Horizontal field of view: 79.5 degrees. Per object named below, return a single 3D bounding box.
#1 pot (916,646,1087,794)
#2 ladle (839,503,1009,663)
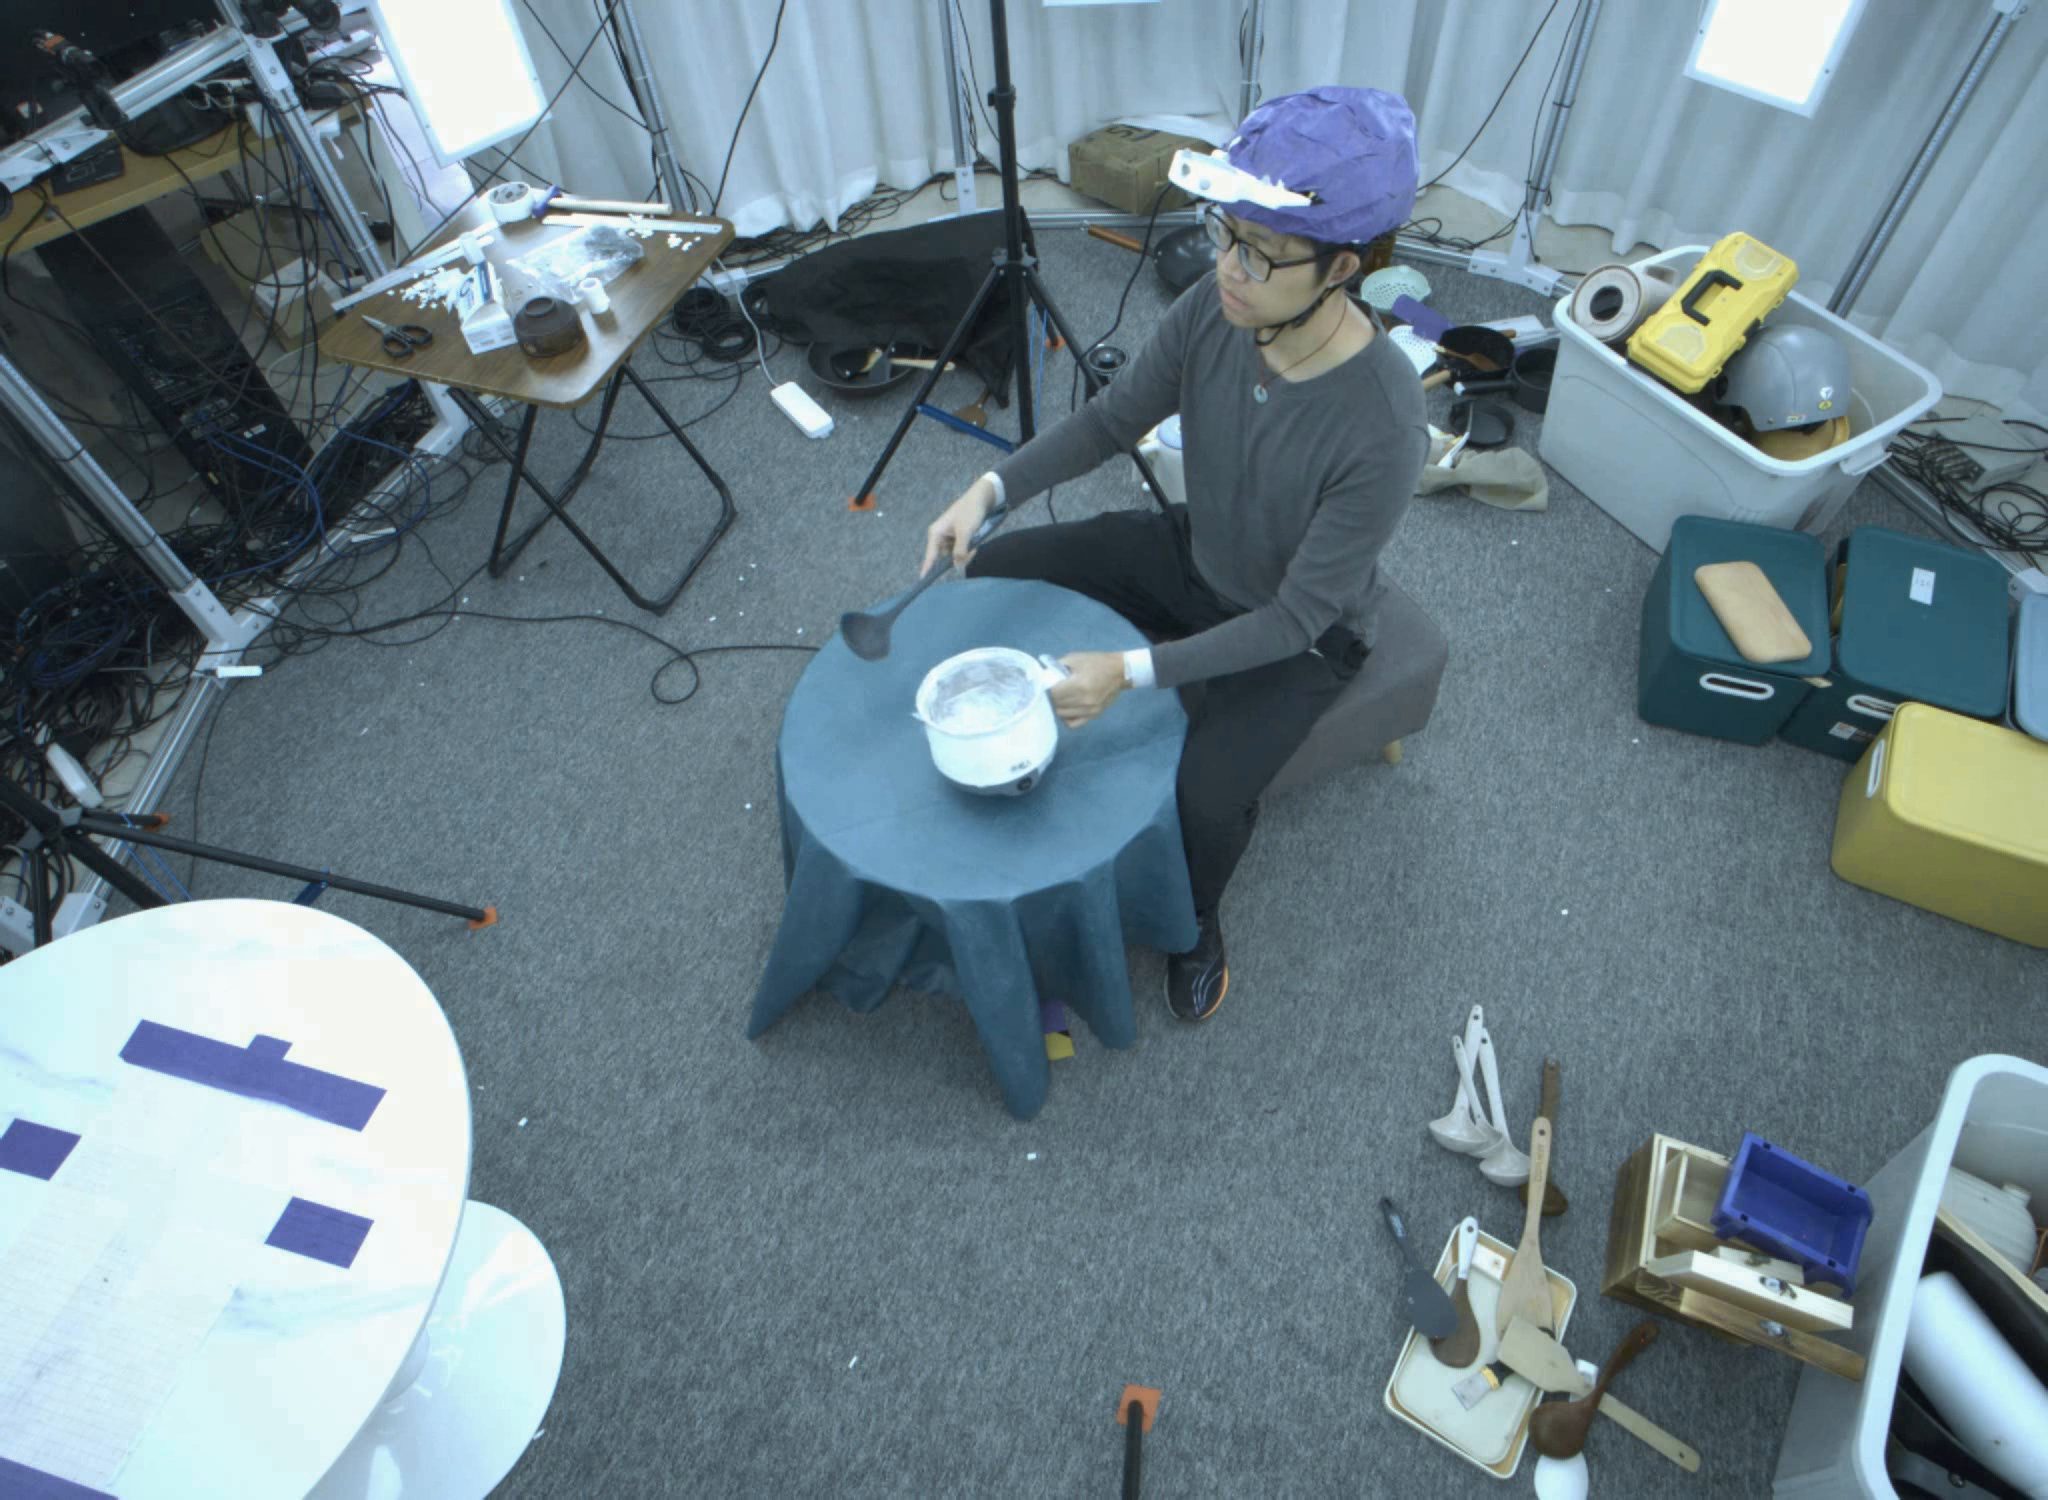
[{"bbox_3d":[-0.024,-0.051,1.710,0.235,0.138,0.175,-28,46,-15],"label":"pot"},{"bbox_3d":[-0.137,-0.251,1.766,0.314,0.063,0.087,-44,97,-2],"label":"ladle"}]
